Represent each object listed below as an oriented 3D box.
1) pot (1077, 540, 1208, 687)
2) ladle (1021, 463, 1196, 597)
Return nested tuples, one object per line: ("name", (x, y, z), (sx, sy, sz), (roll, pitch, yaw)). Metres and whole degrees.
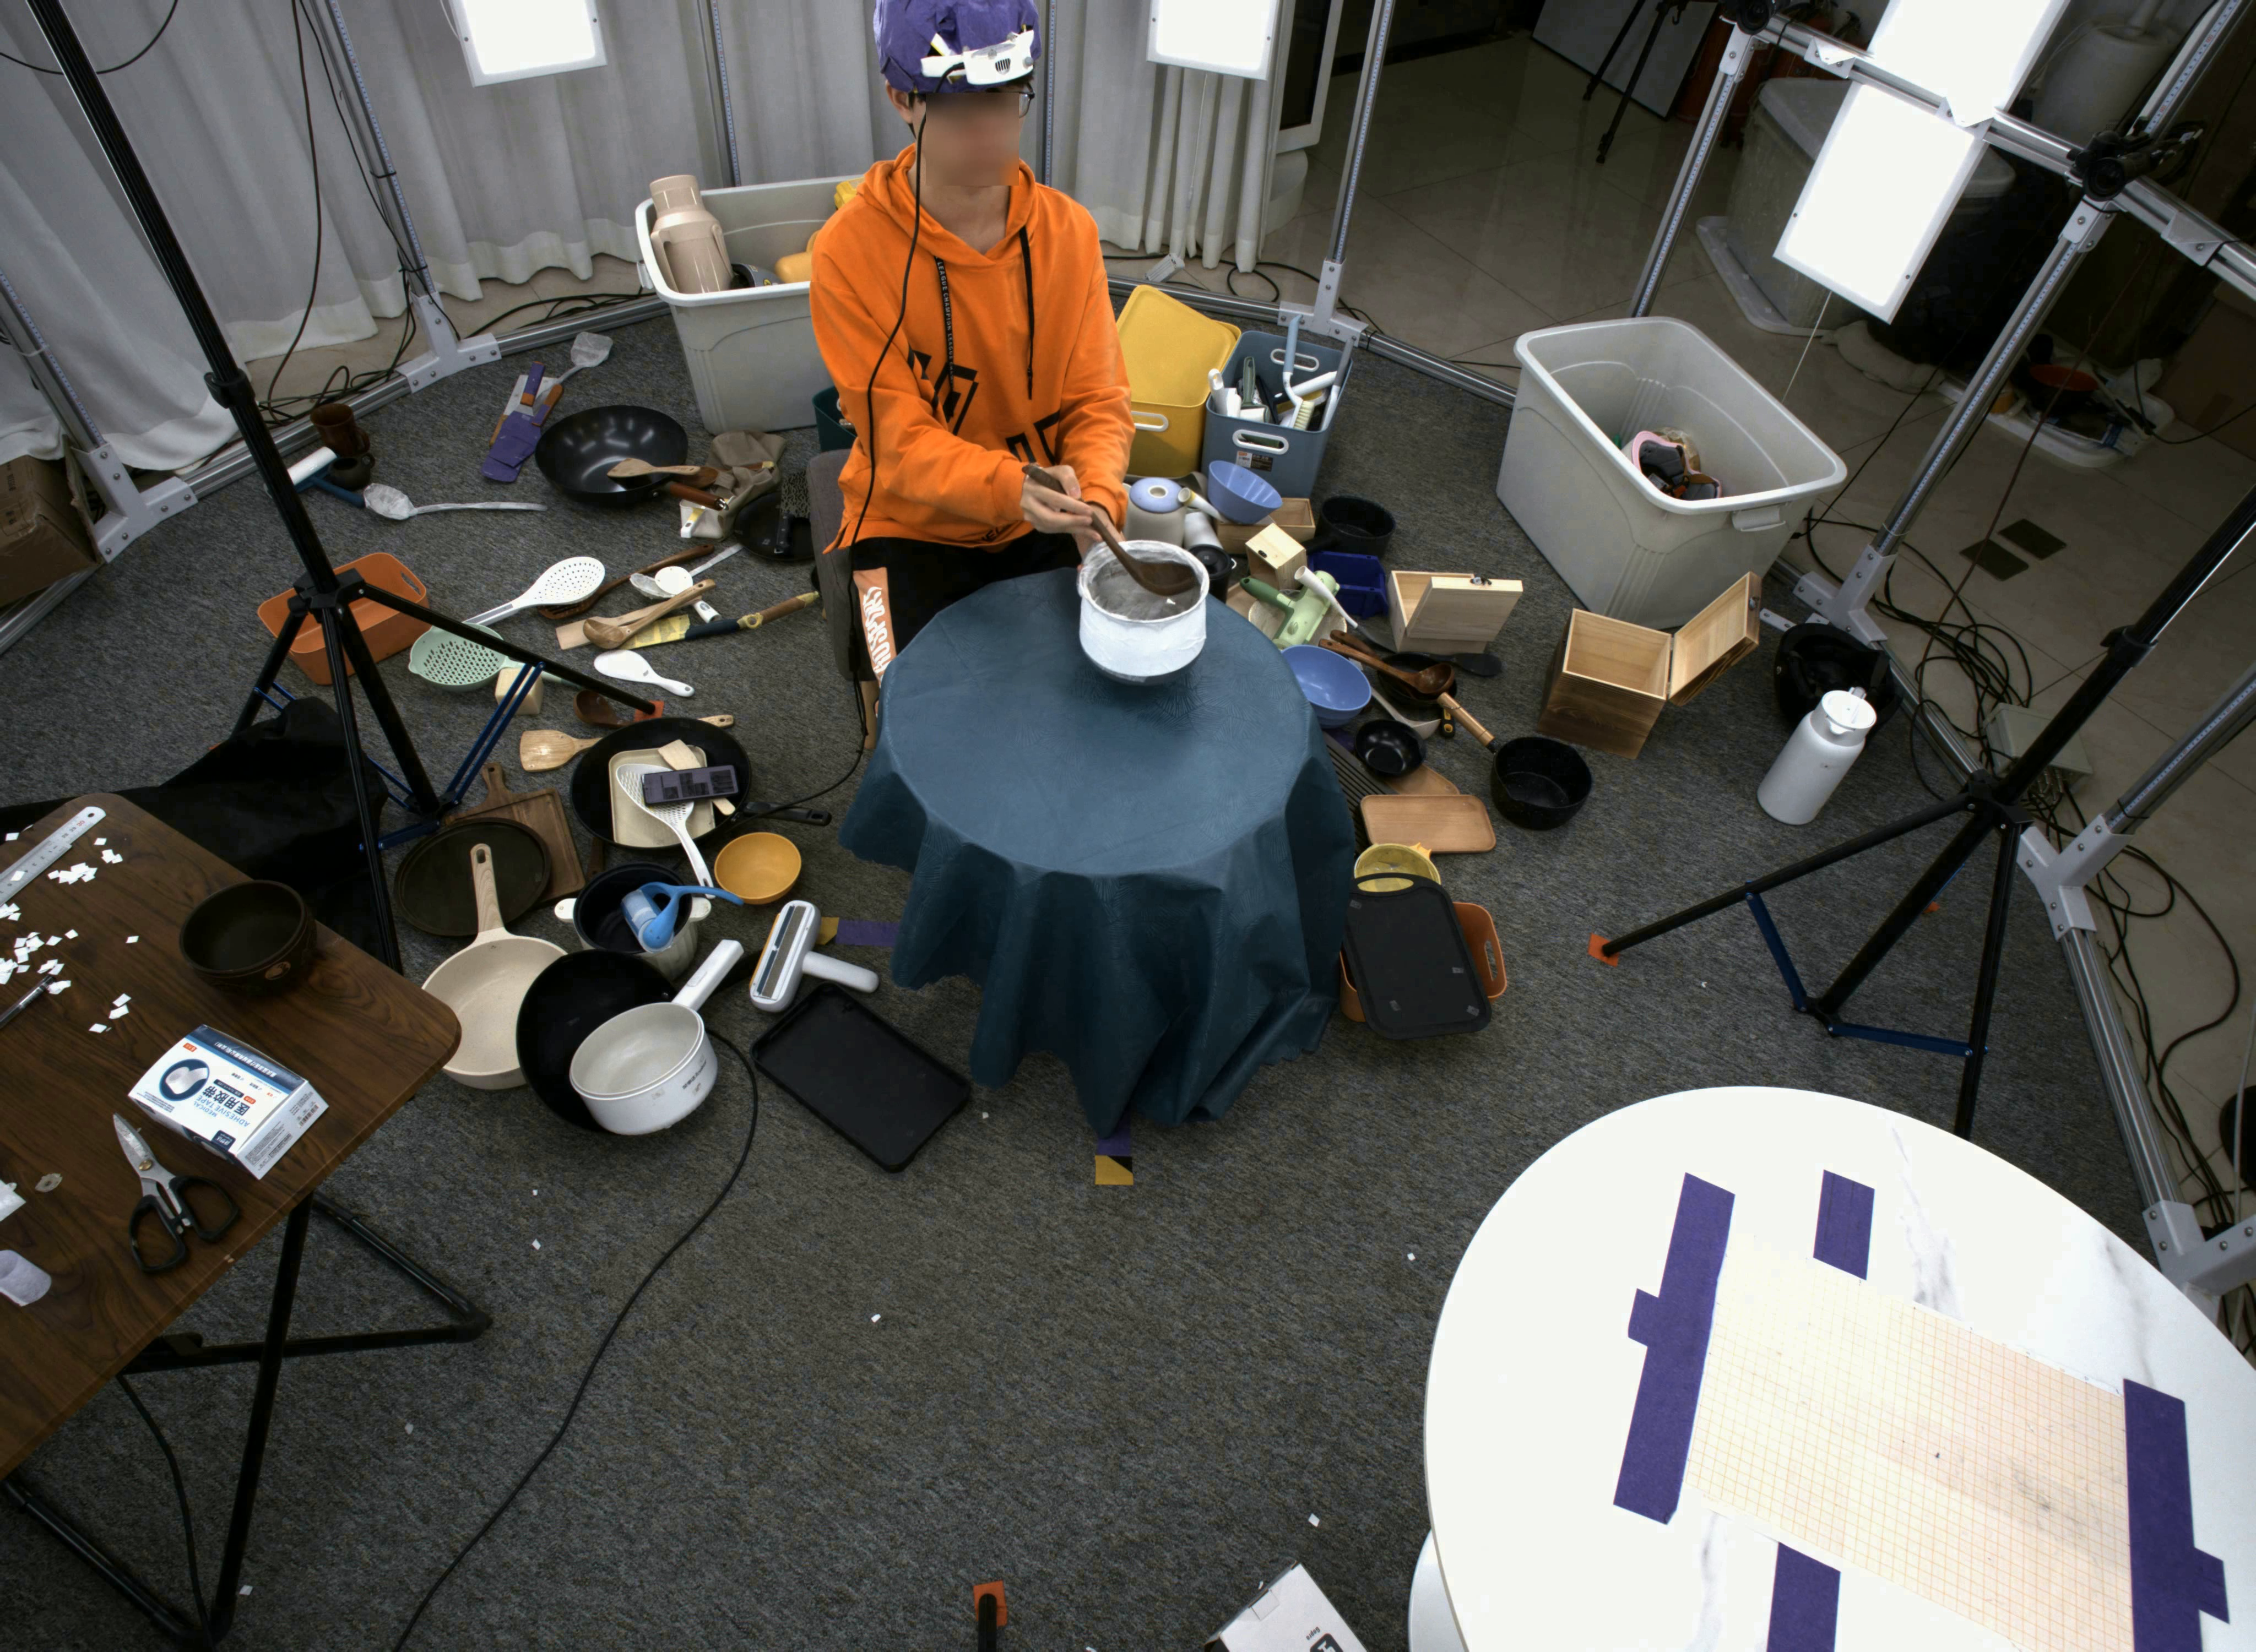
("pot", (0.003, -0.308, 1.808), (0.179, 0.133, 0.238), (-28, 53, -24))
("ladle", (-0.022, -0.409, 1.738), (0.271, 0.070, 0.077), (42, 29, -17))
